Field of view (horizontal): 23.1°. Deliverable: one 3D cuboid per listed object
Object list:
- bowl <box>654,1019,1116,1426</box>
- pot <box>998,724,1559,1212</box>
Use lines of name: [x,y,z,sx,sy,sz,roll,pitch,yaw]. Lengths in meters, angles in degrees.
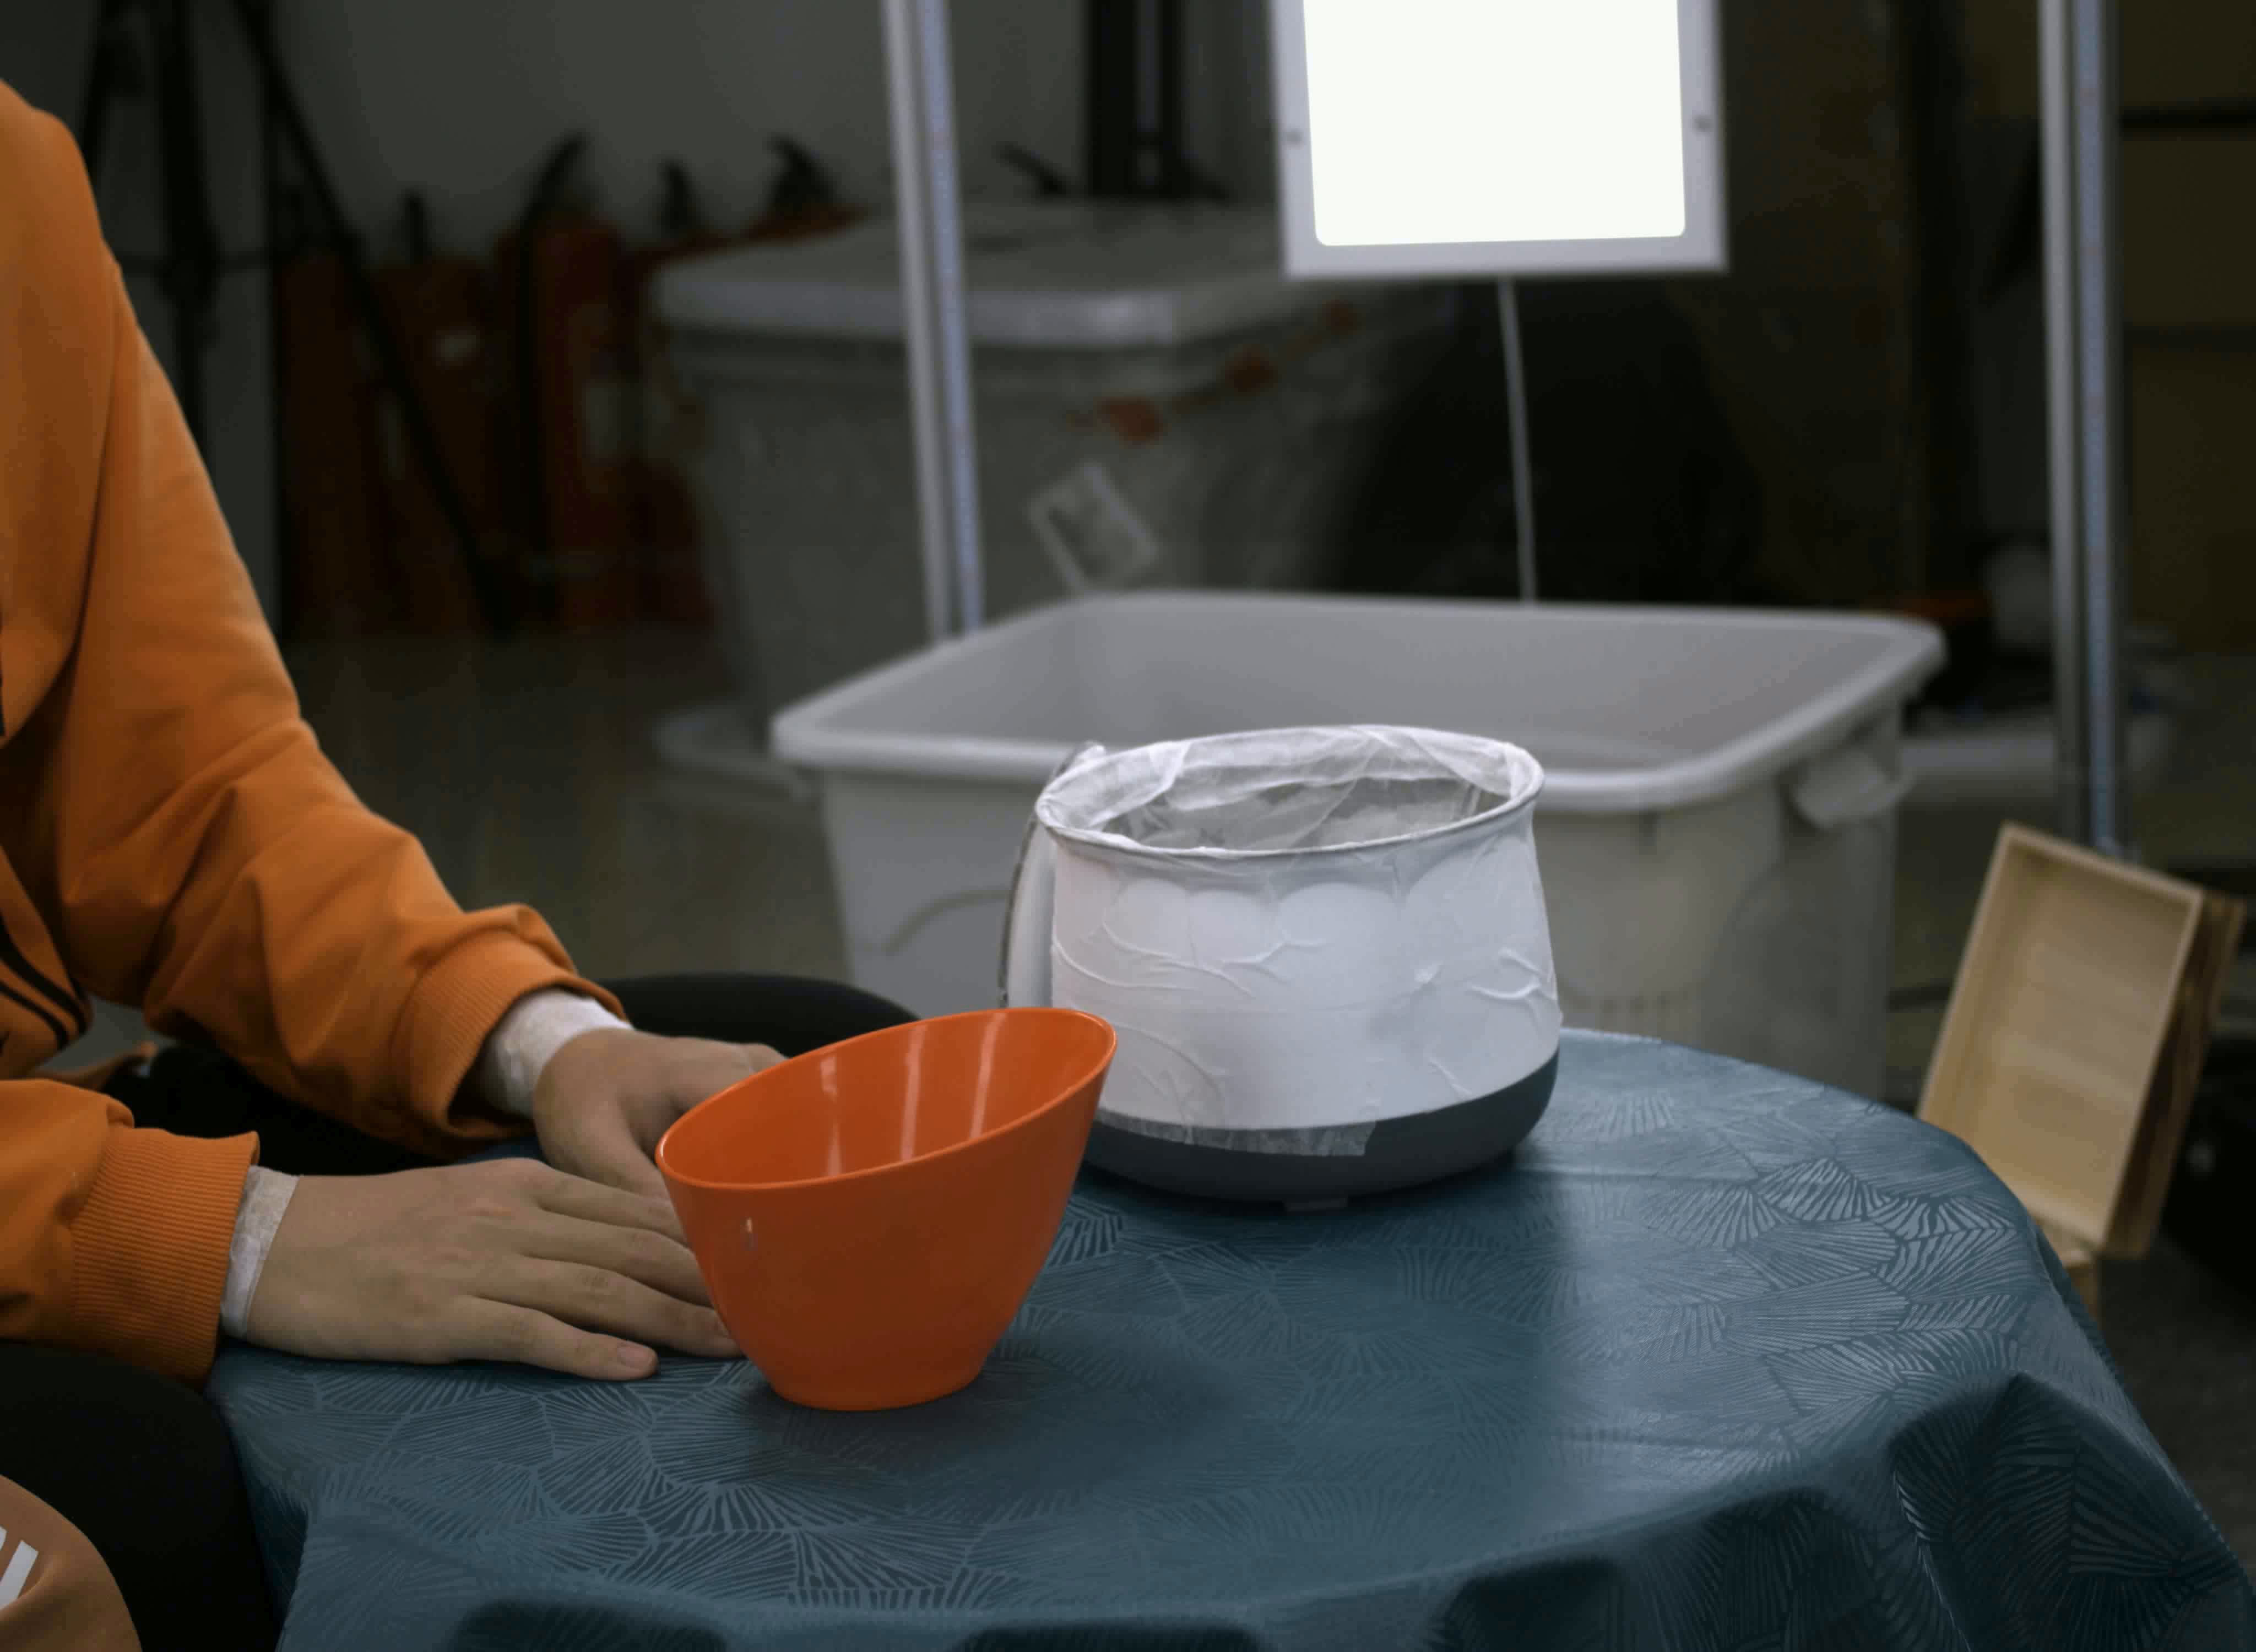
bowl: [-0.072,0.127,1.724,0.147,0.105,0.148,-6,14,0]
pot: [0.041,0.044,1.928,0.174,0.137,0.239,-17,19,-42]
